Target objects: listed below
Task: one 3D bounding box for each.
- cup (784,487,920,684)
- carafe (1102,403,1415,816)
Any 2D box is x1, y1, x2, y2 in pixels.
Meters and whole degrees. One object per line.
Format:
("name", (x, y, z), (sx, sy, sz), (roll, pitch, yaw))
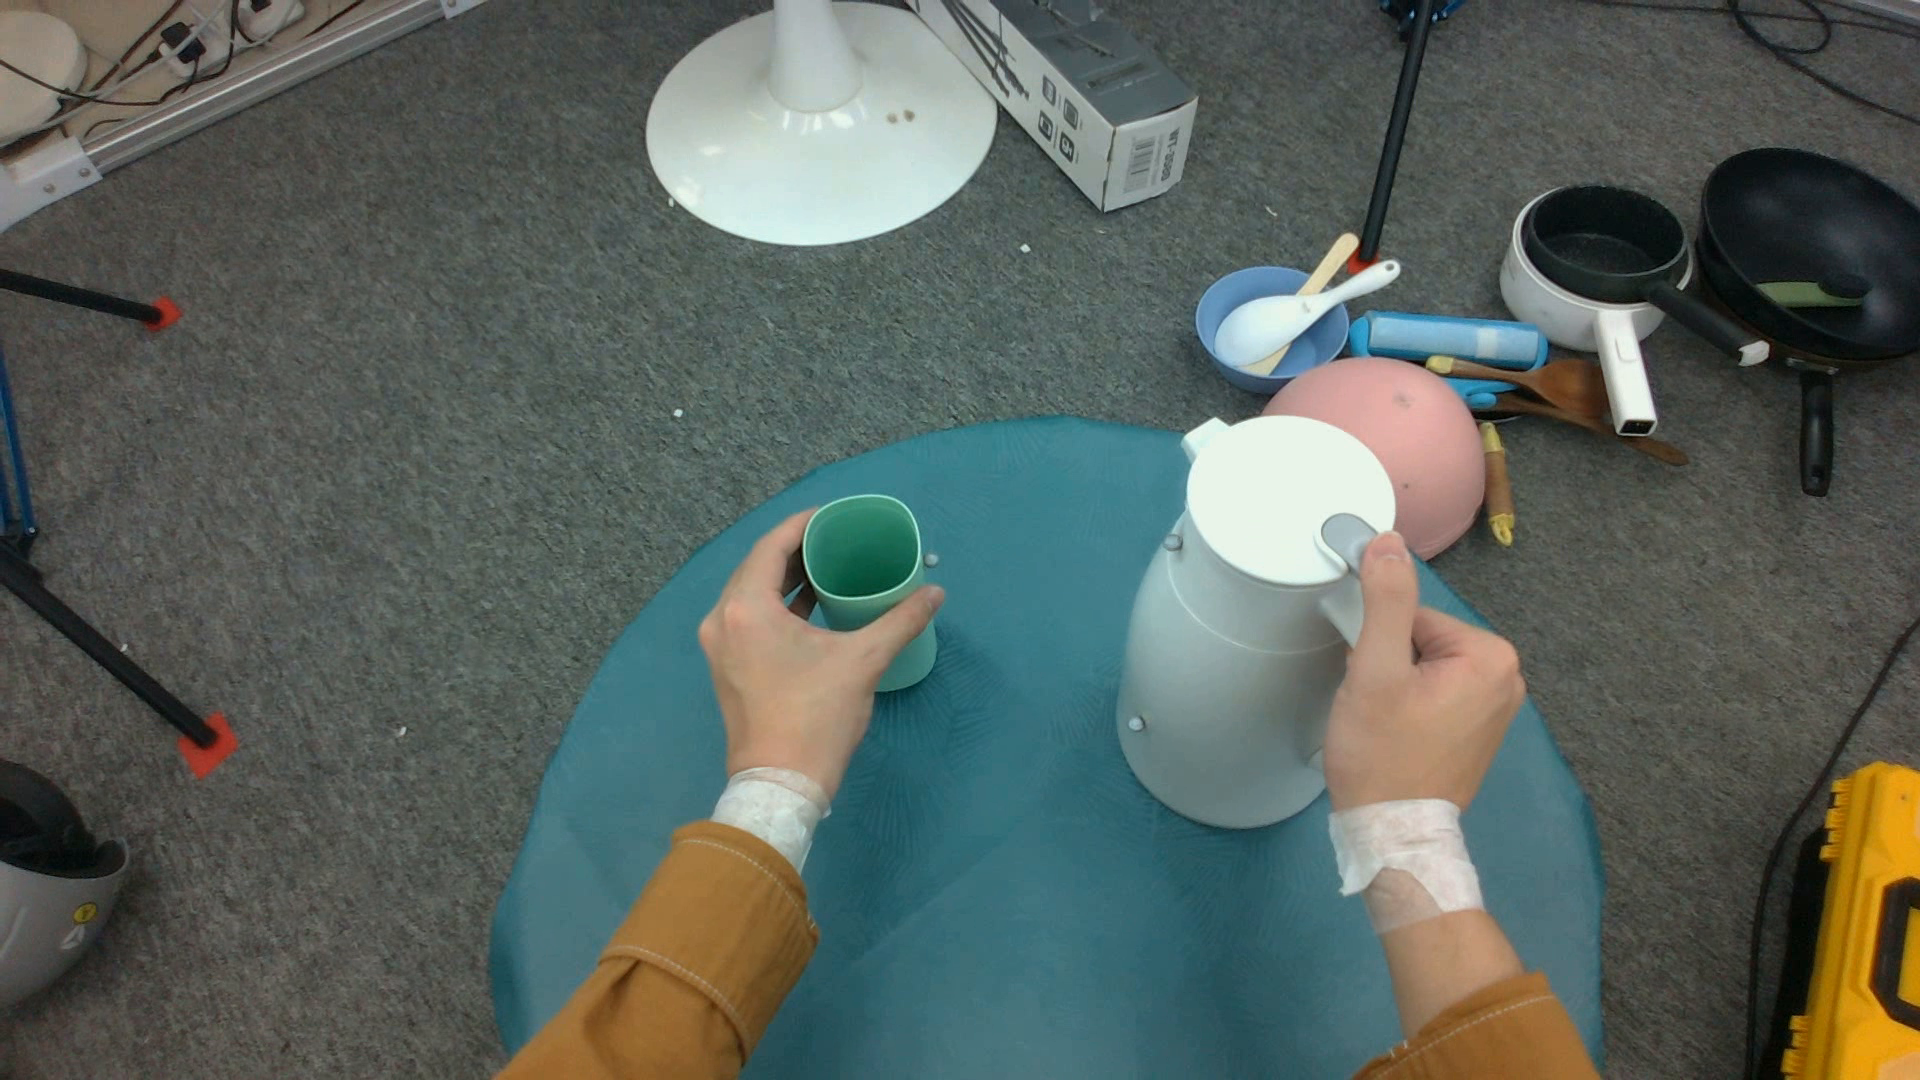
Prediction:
("cup", (-0.058, 0.030, 0.785), (0.067, 0.132, 0.067), (-1, 61, 3))
("carafe", (0.157, 0.049, 0.706), (0.133, 0.247, 0.168), (-32, 62, -17))
